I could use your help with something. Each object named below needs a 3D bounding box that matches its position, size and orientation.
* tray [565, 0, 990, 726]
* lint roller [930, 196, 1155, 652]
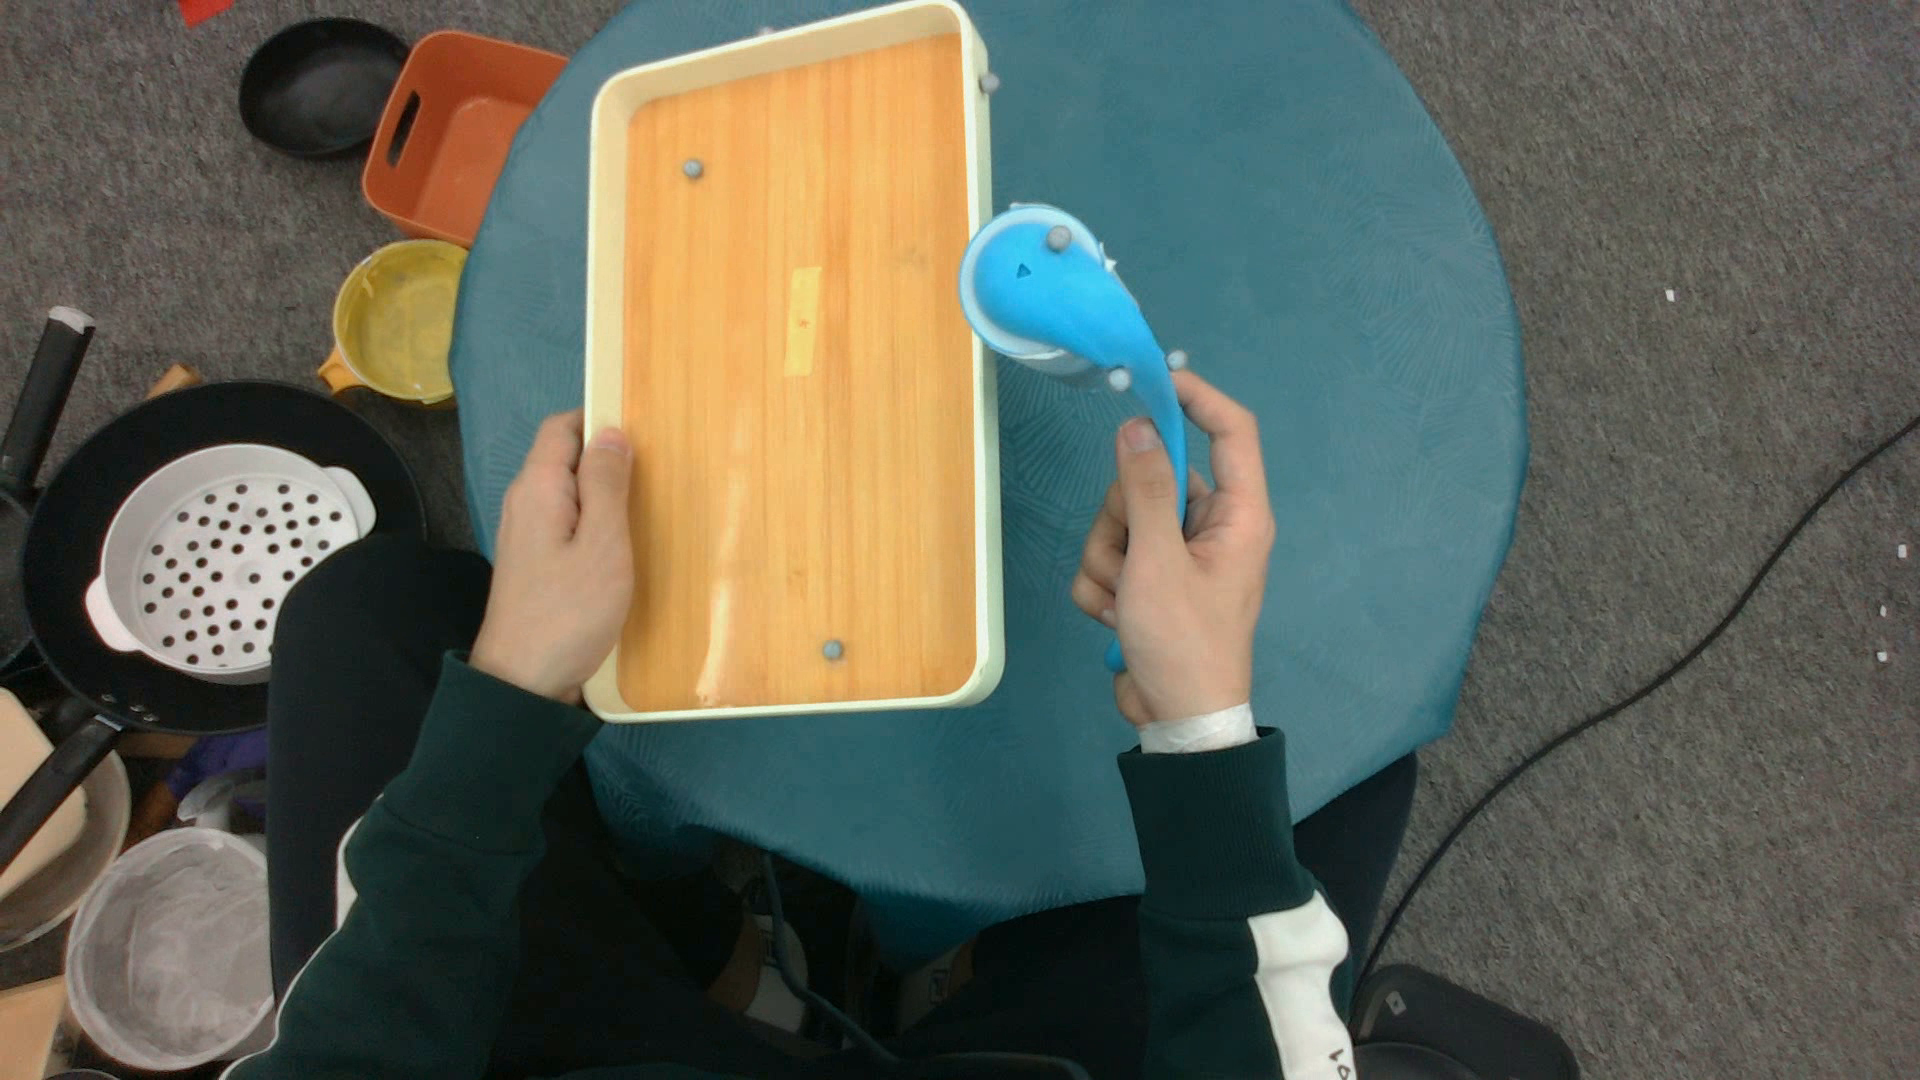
[{"bbox_3d":[-0.085,-0.074,0.600,0.191,0.027,0.301,-7,78,21],"label":"tray"},{"bbox_3d":[0.052,-0.047,0.582,0.068,0.229,0.180,-20,93,9],"label":"lint roller"}]
